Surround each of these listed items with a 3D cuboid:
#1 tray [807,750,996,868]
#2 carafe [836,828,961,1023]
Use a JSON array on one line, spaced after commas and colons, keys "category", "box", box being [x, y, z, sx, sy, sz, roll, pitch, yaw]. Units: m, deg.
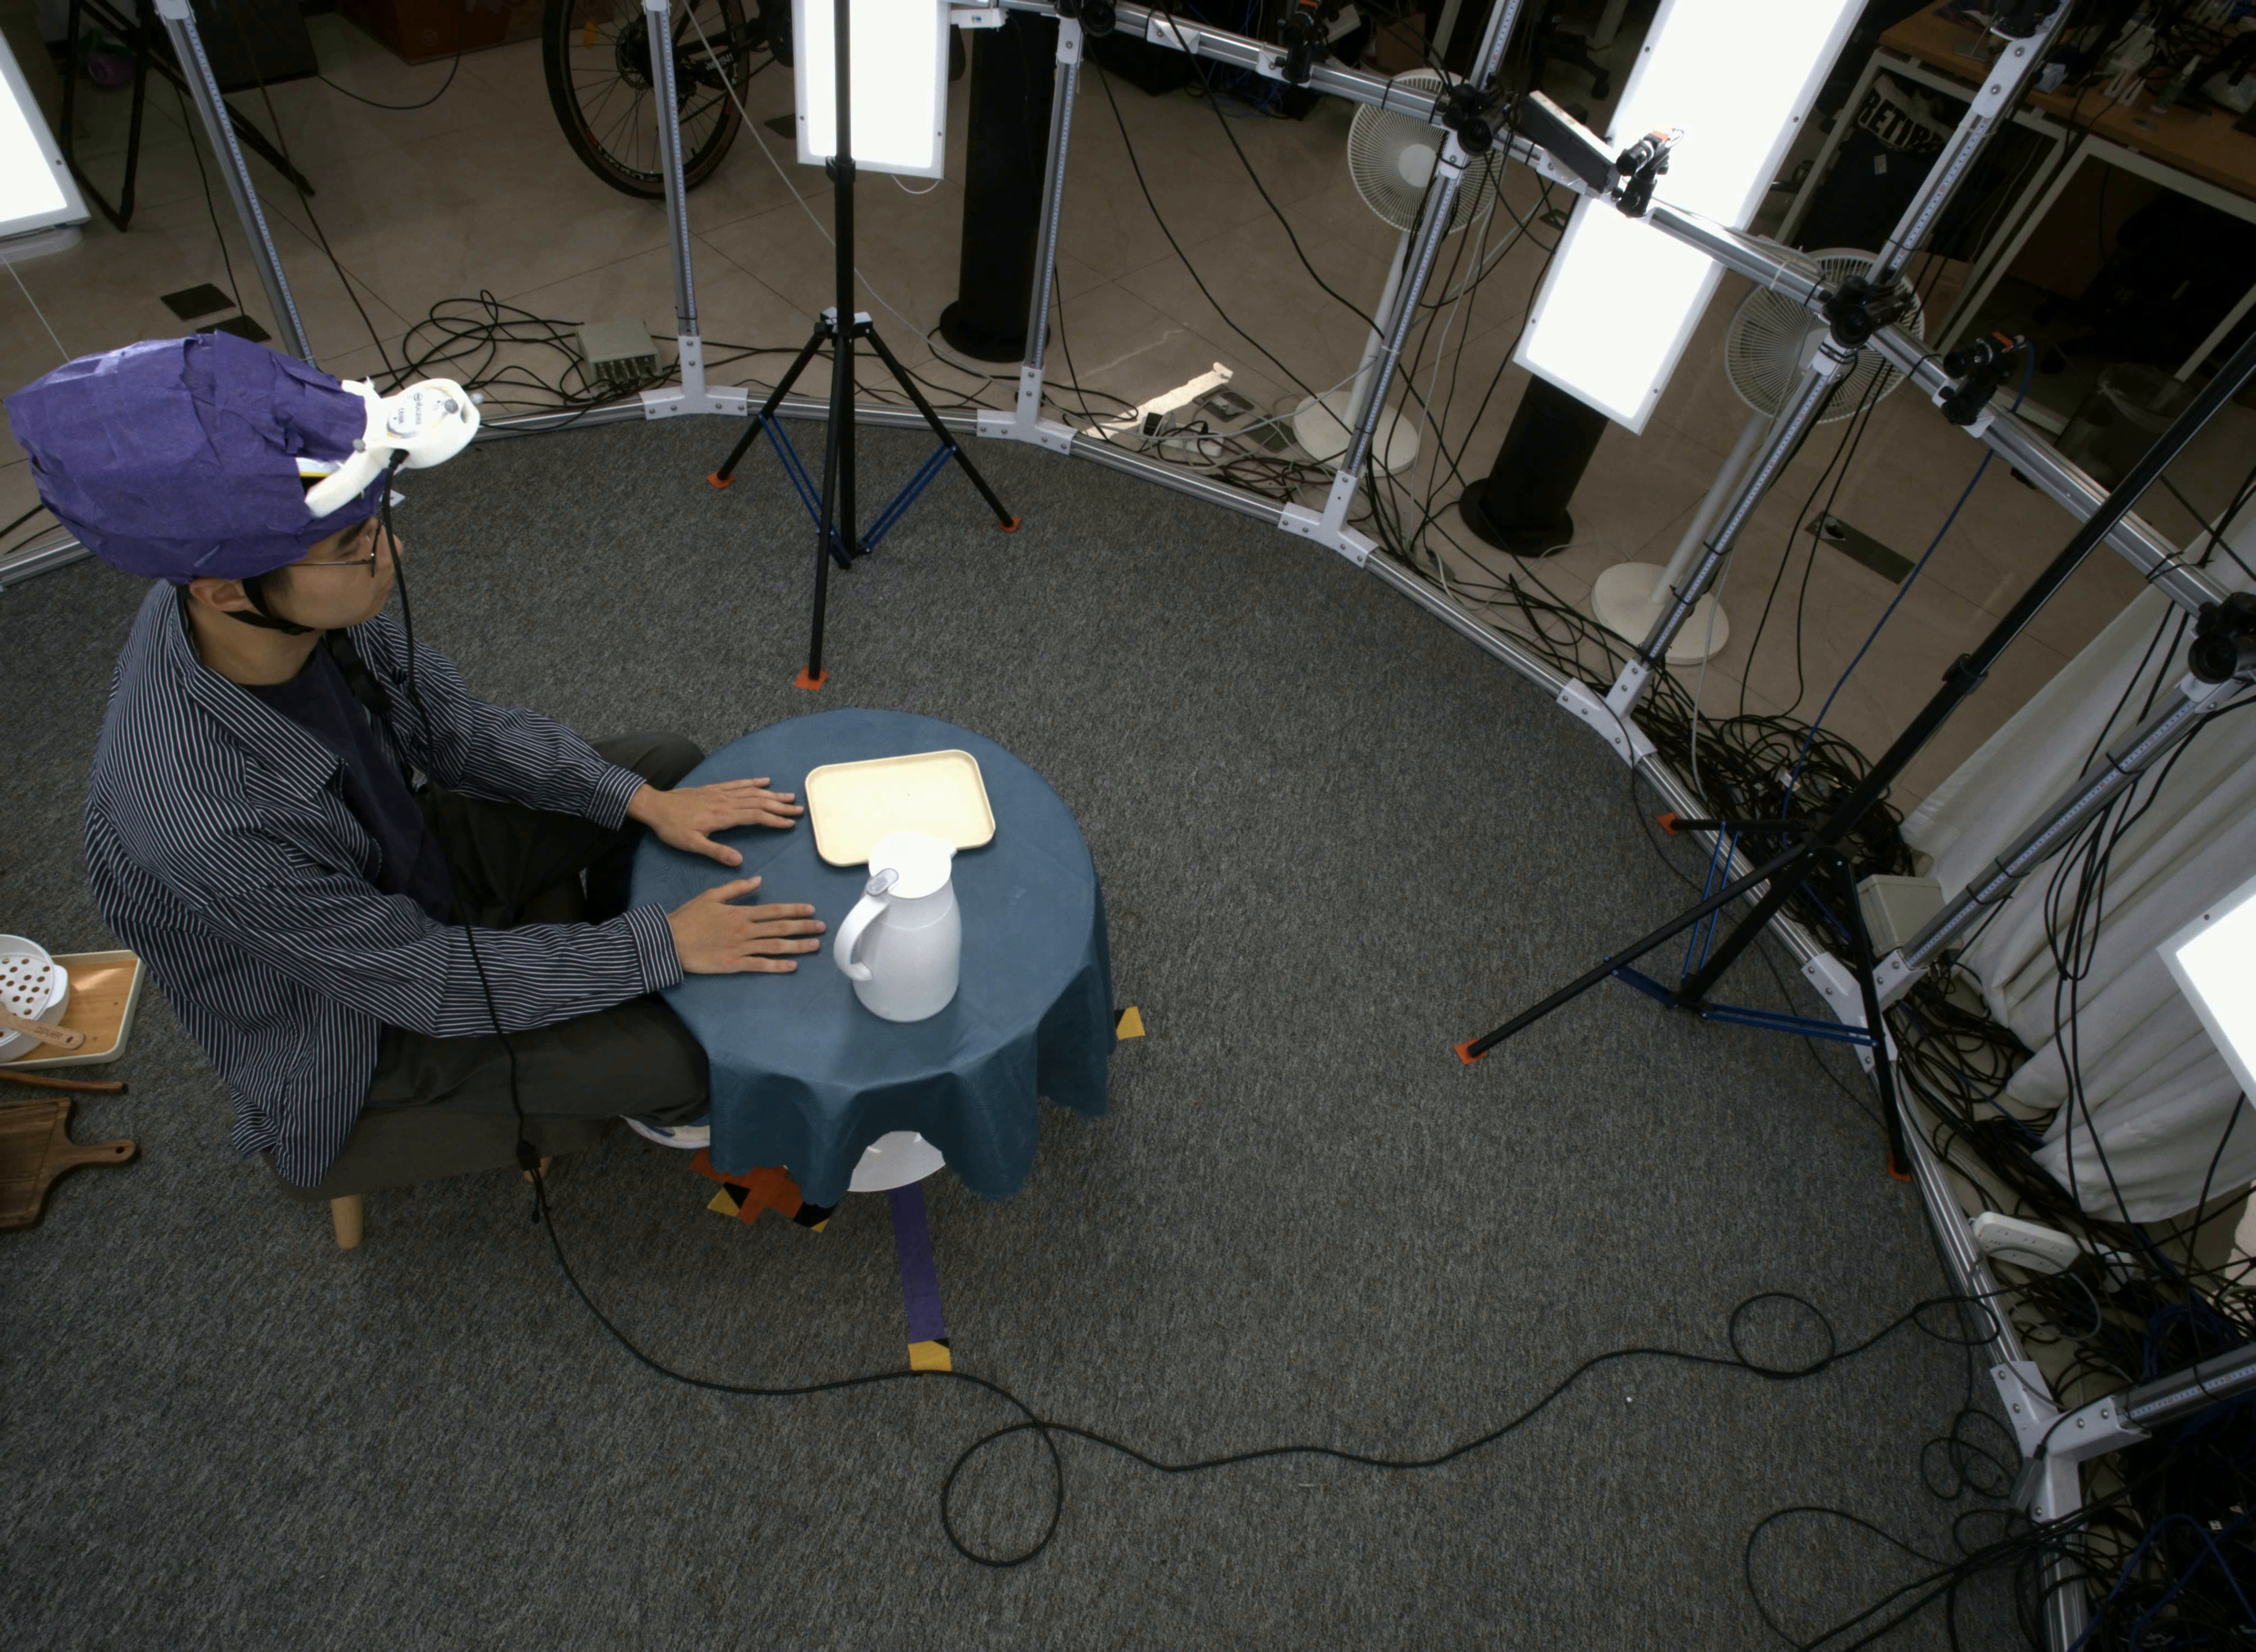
[{"category": "tray", "box": [-0.309, -0.024, 1.775, 0.240, 0.018, 0.167, -9, 56, -19]}, {"category": "carafe", "box": [-0.272, 0.122, 1.524, 0.129, 0.254, 0.168, 36, 55, 16]}]
